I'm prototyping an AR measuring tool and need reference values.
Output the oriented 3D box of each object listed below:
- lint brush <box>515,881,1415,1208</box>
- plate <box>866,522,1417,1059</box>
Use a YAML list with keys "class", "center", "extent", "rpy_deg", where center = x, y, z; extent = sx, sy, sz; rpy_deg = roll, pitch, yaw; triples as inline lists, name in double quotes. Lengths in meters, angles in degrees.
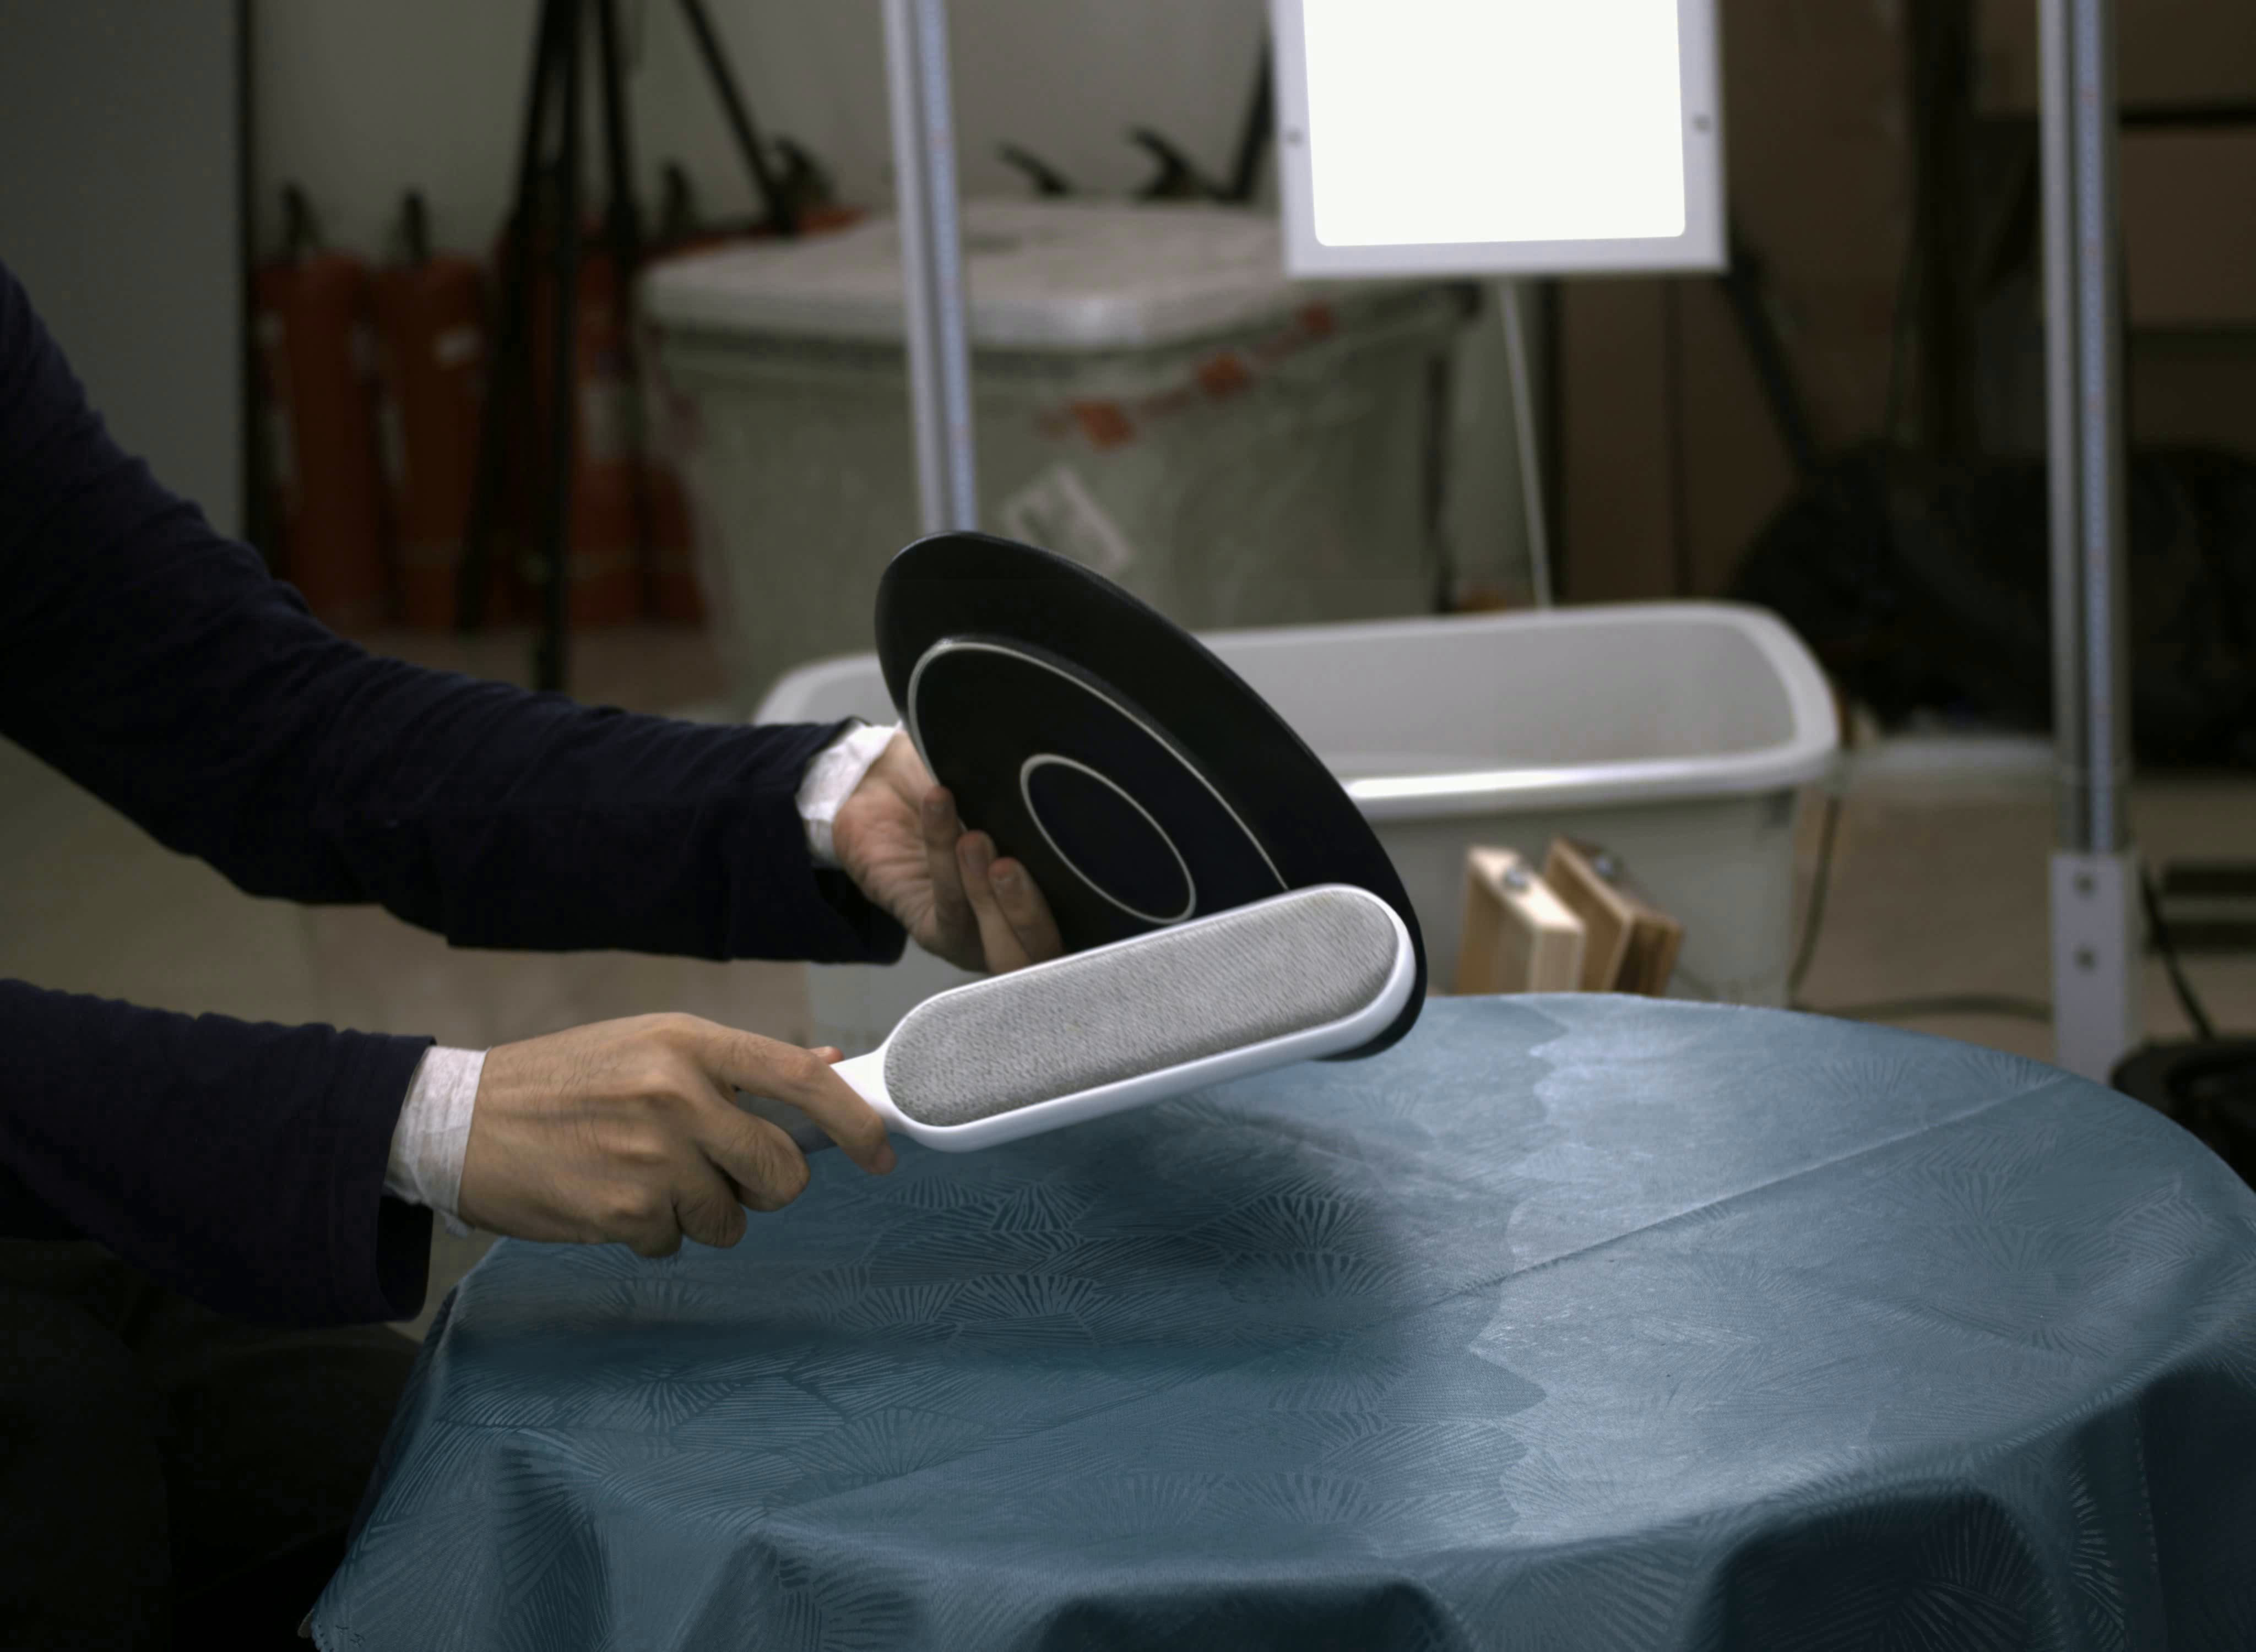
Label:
- class: "lint brush"
  center: [-0.055, 0.075, 1.783]
  extent: [0.311, 0.060, 0.021]
  rpy_deg: [-15, -31, 13]
- class: "plate"
  center: [-0.002, -0.004, 1.898]
  extent: [0.023, 0.243, 0.249]
  rpy_deg: [-46, 33, -25]
